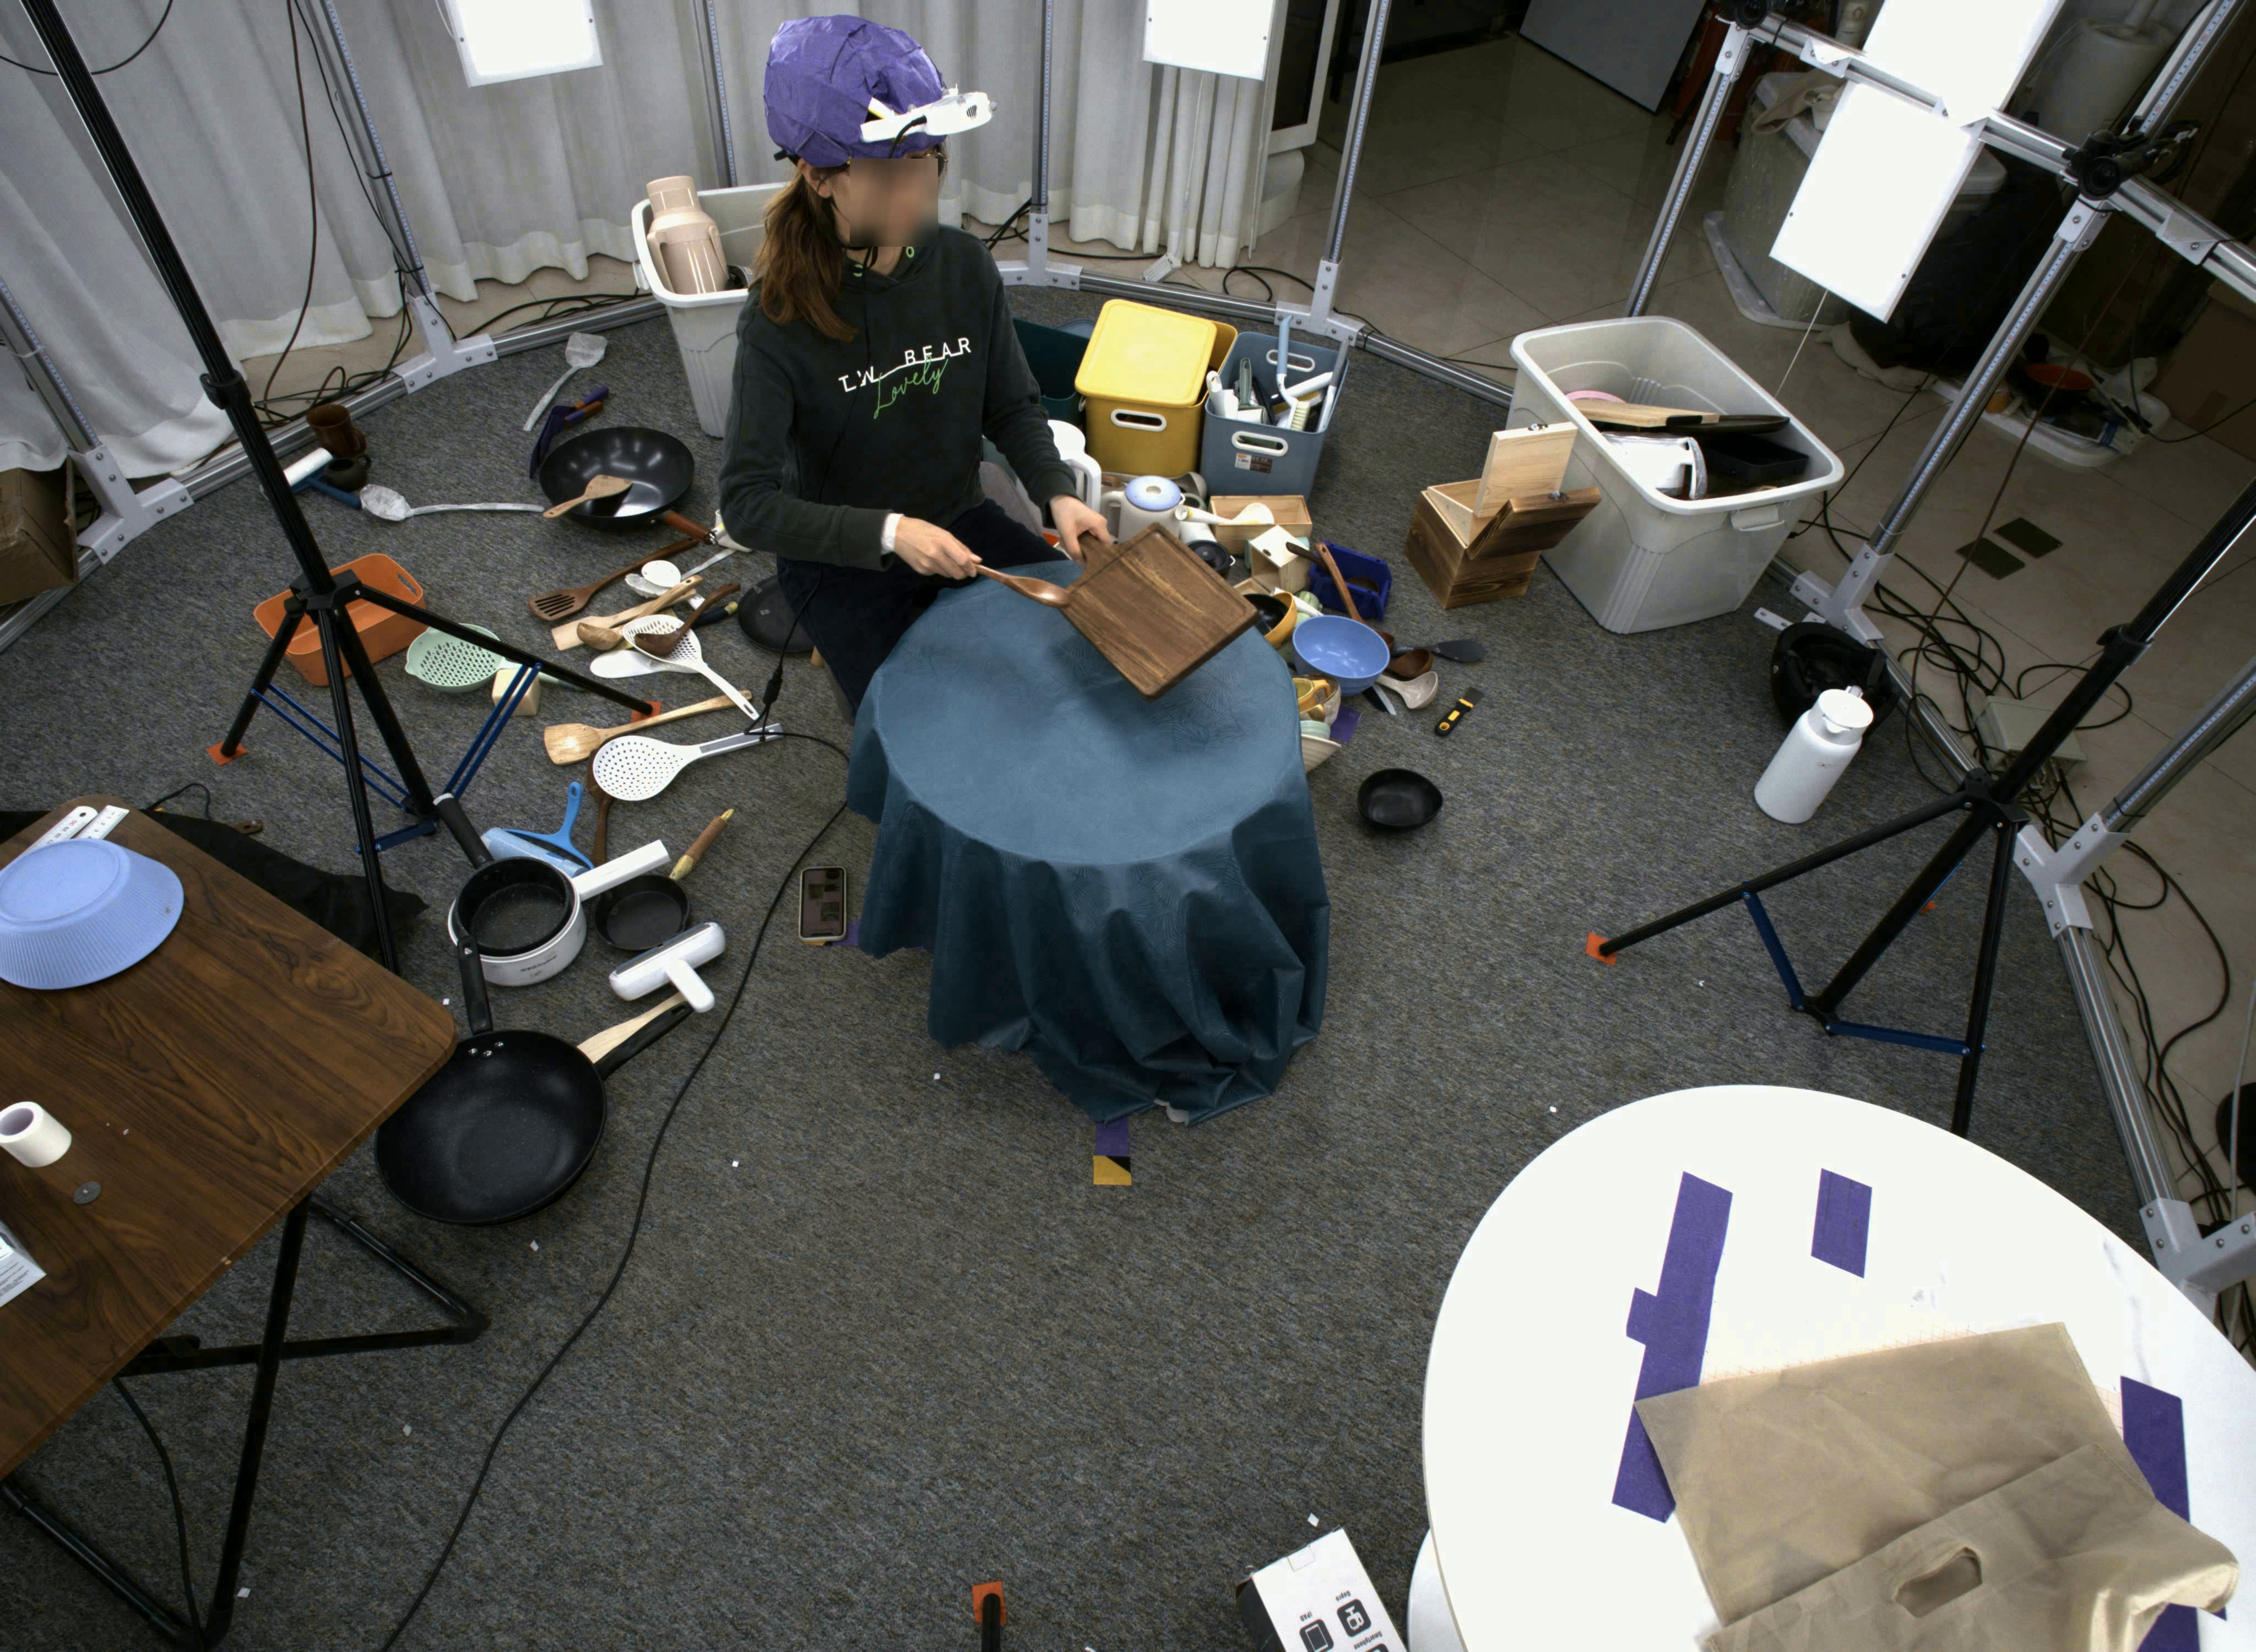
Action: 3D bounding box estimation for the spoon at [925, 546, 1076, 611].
[{"bbox_3d":[-0.174,-0.337,1.761,0.215,0.017,0.077,21,29,-1],"label":"spoon"}]

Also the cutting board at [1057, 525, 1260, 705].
[{"bbox_3d":[0.012,-0.334,1.848,0.201,0.023,0.359,-38,54,-5],"label":"cutting board"}]
